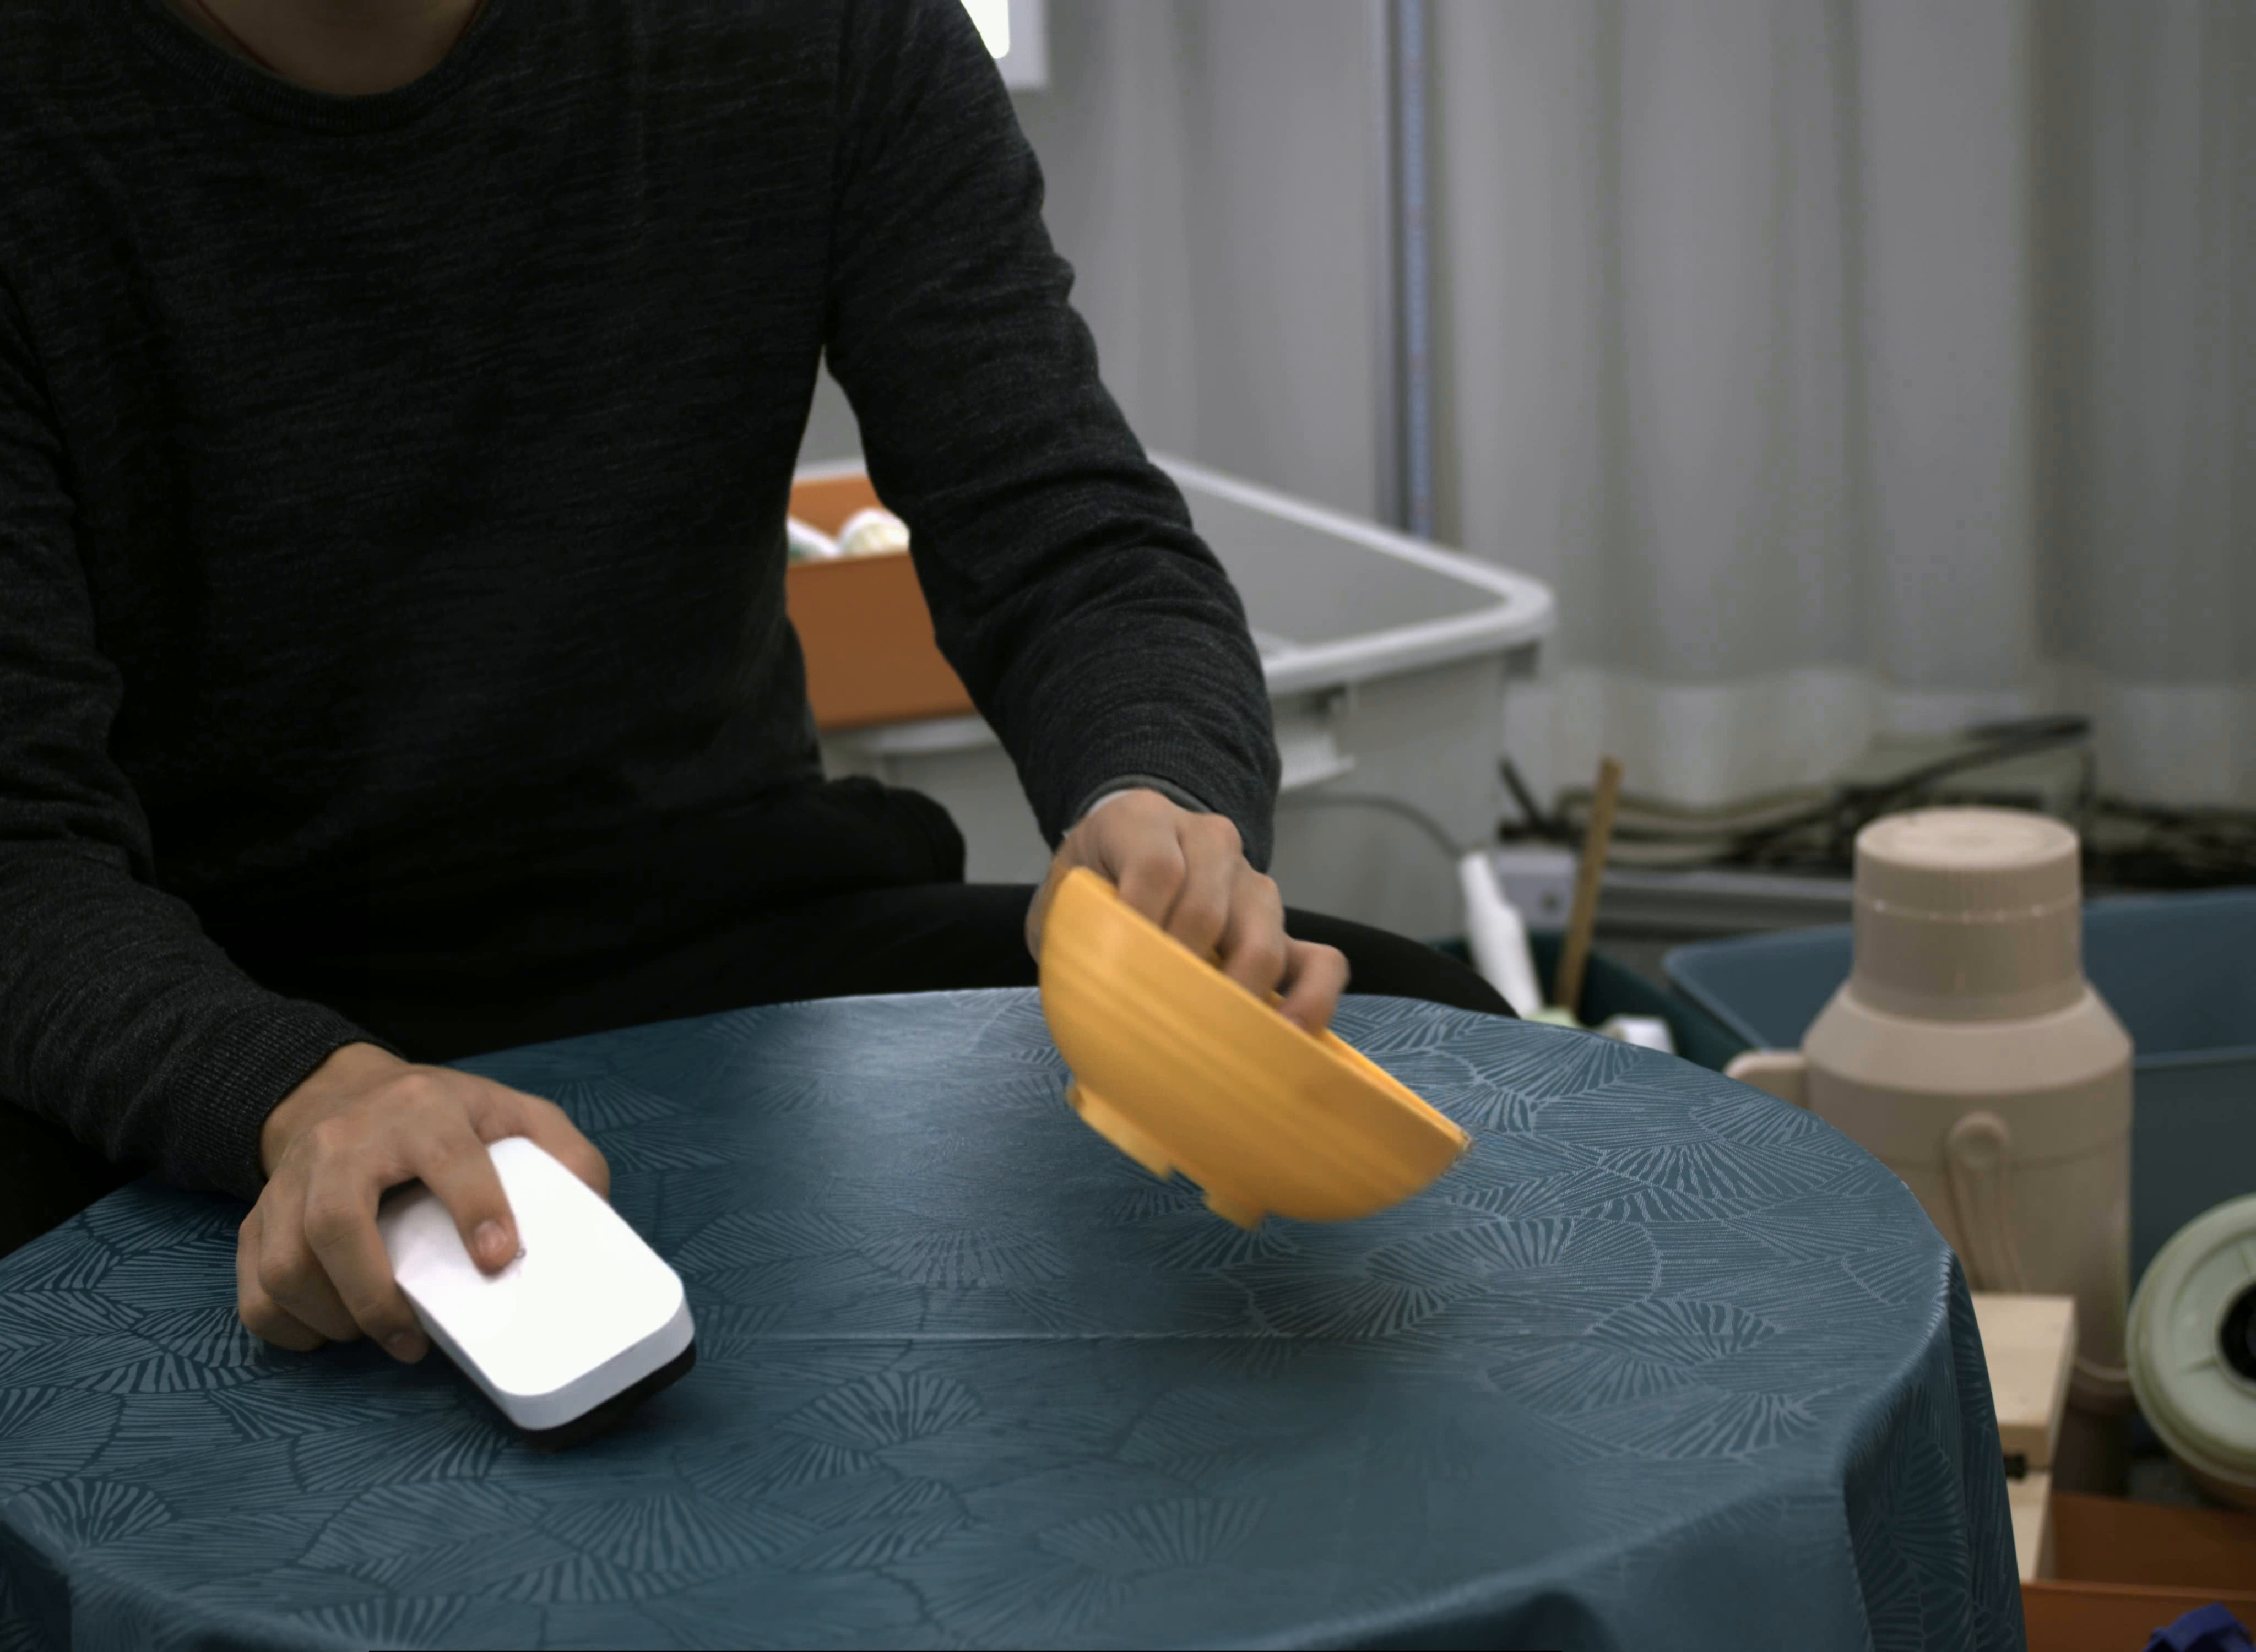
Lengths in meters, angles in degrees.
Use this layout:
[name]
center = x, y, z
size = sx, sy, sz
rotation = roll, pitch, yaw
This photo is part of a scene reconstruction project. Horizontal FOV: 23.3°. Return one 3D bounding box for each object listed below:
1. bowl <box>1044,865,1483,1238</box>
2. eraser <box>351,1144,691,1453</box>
[bowl]
center = 0.027, 0.076, 1.573
size = 0.145, 0.060, 0.145
rotation = 34, 2, -1
[eraser]
center = -0.173, 0.132, 1.570
size = 0.063, 0.034, 0.132
rotation = -27, 31, -18
